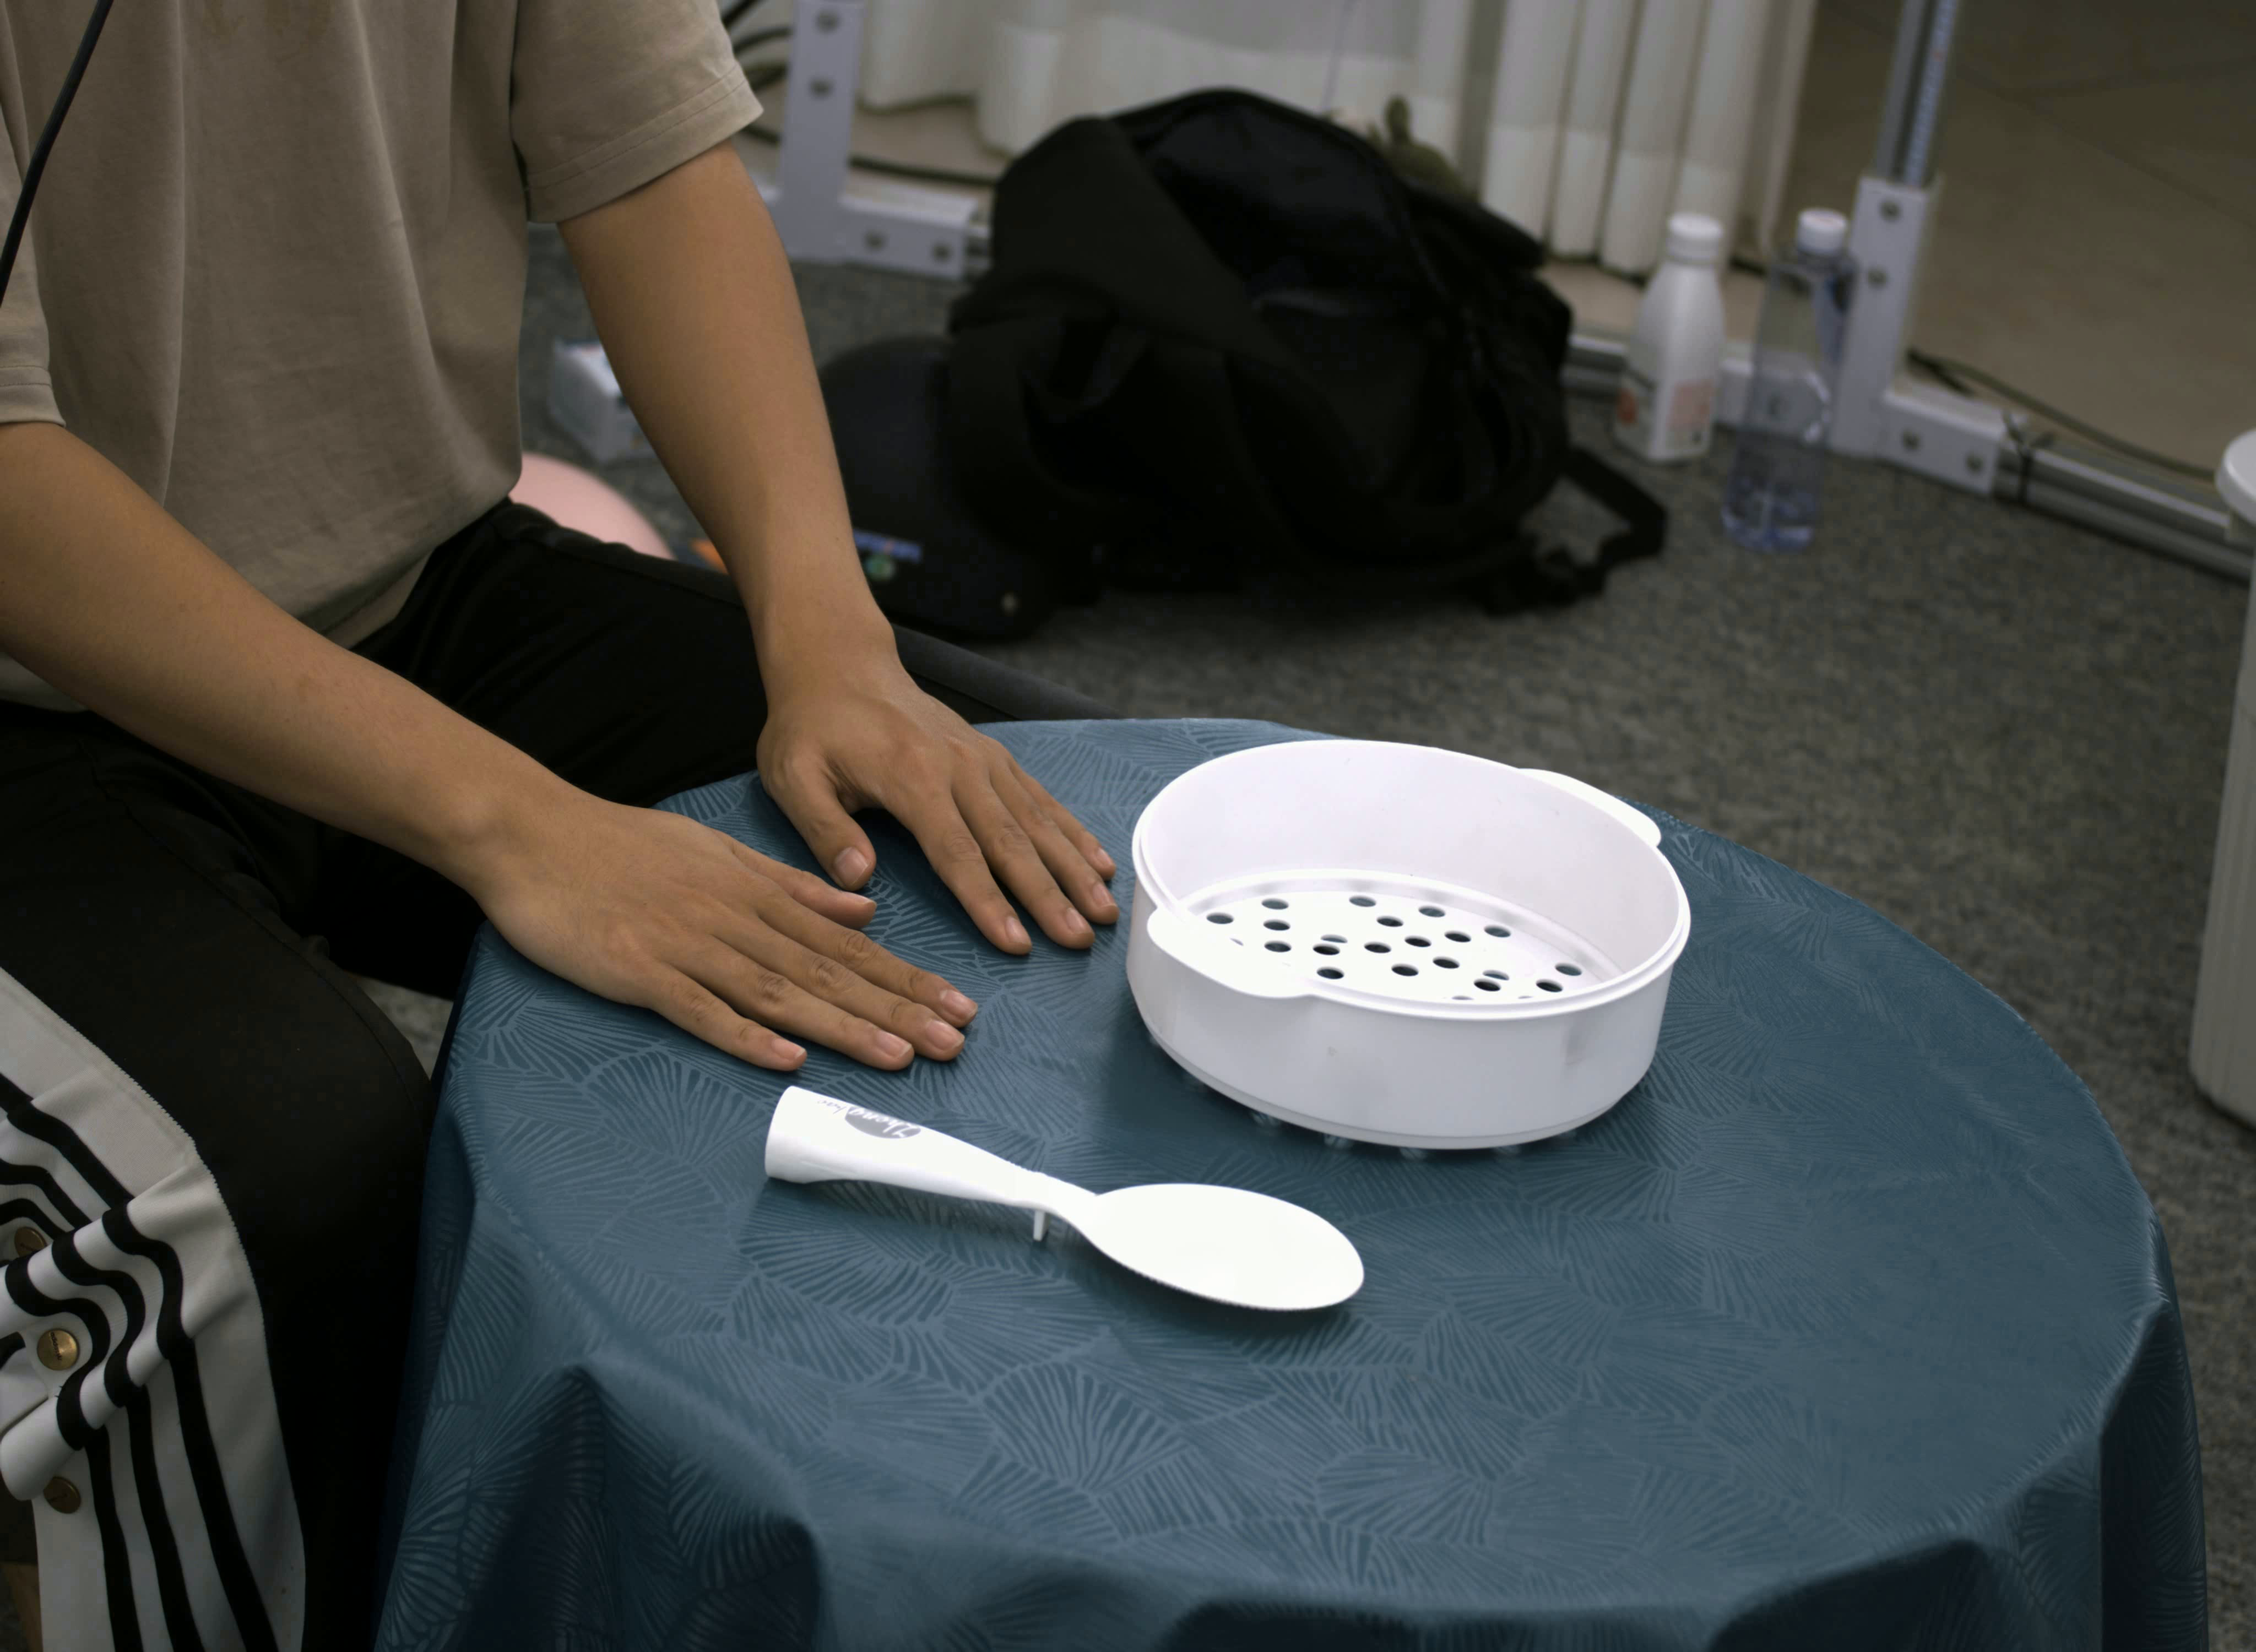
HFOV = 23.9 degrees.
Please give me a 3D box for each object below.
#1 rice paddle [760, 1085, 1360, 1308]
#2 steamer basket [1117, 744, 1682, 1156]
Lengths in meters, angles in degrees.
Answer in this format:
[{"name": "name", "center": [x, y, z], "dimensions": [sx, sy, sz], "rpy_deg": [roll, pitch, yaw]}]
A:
[{"name": "rice paddle", "center": [-0.021, 0.124, 1.766], "dimensions": [0.205, 0.029, 0.069], "rpy_deg": [13, 29, 12]}, {"name": "steamer basket", "center": [0.094, 0.045, 1.908], "dimensions": [0.203, 0.069, 0.229], "rpy_deg": [30, 33, 35]}]
